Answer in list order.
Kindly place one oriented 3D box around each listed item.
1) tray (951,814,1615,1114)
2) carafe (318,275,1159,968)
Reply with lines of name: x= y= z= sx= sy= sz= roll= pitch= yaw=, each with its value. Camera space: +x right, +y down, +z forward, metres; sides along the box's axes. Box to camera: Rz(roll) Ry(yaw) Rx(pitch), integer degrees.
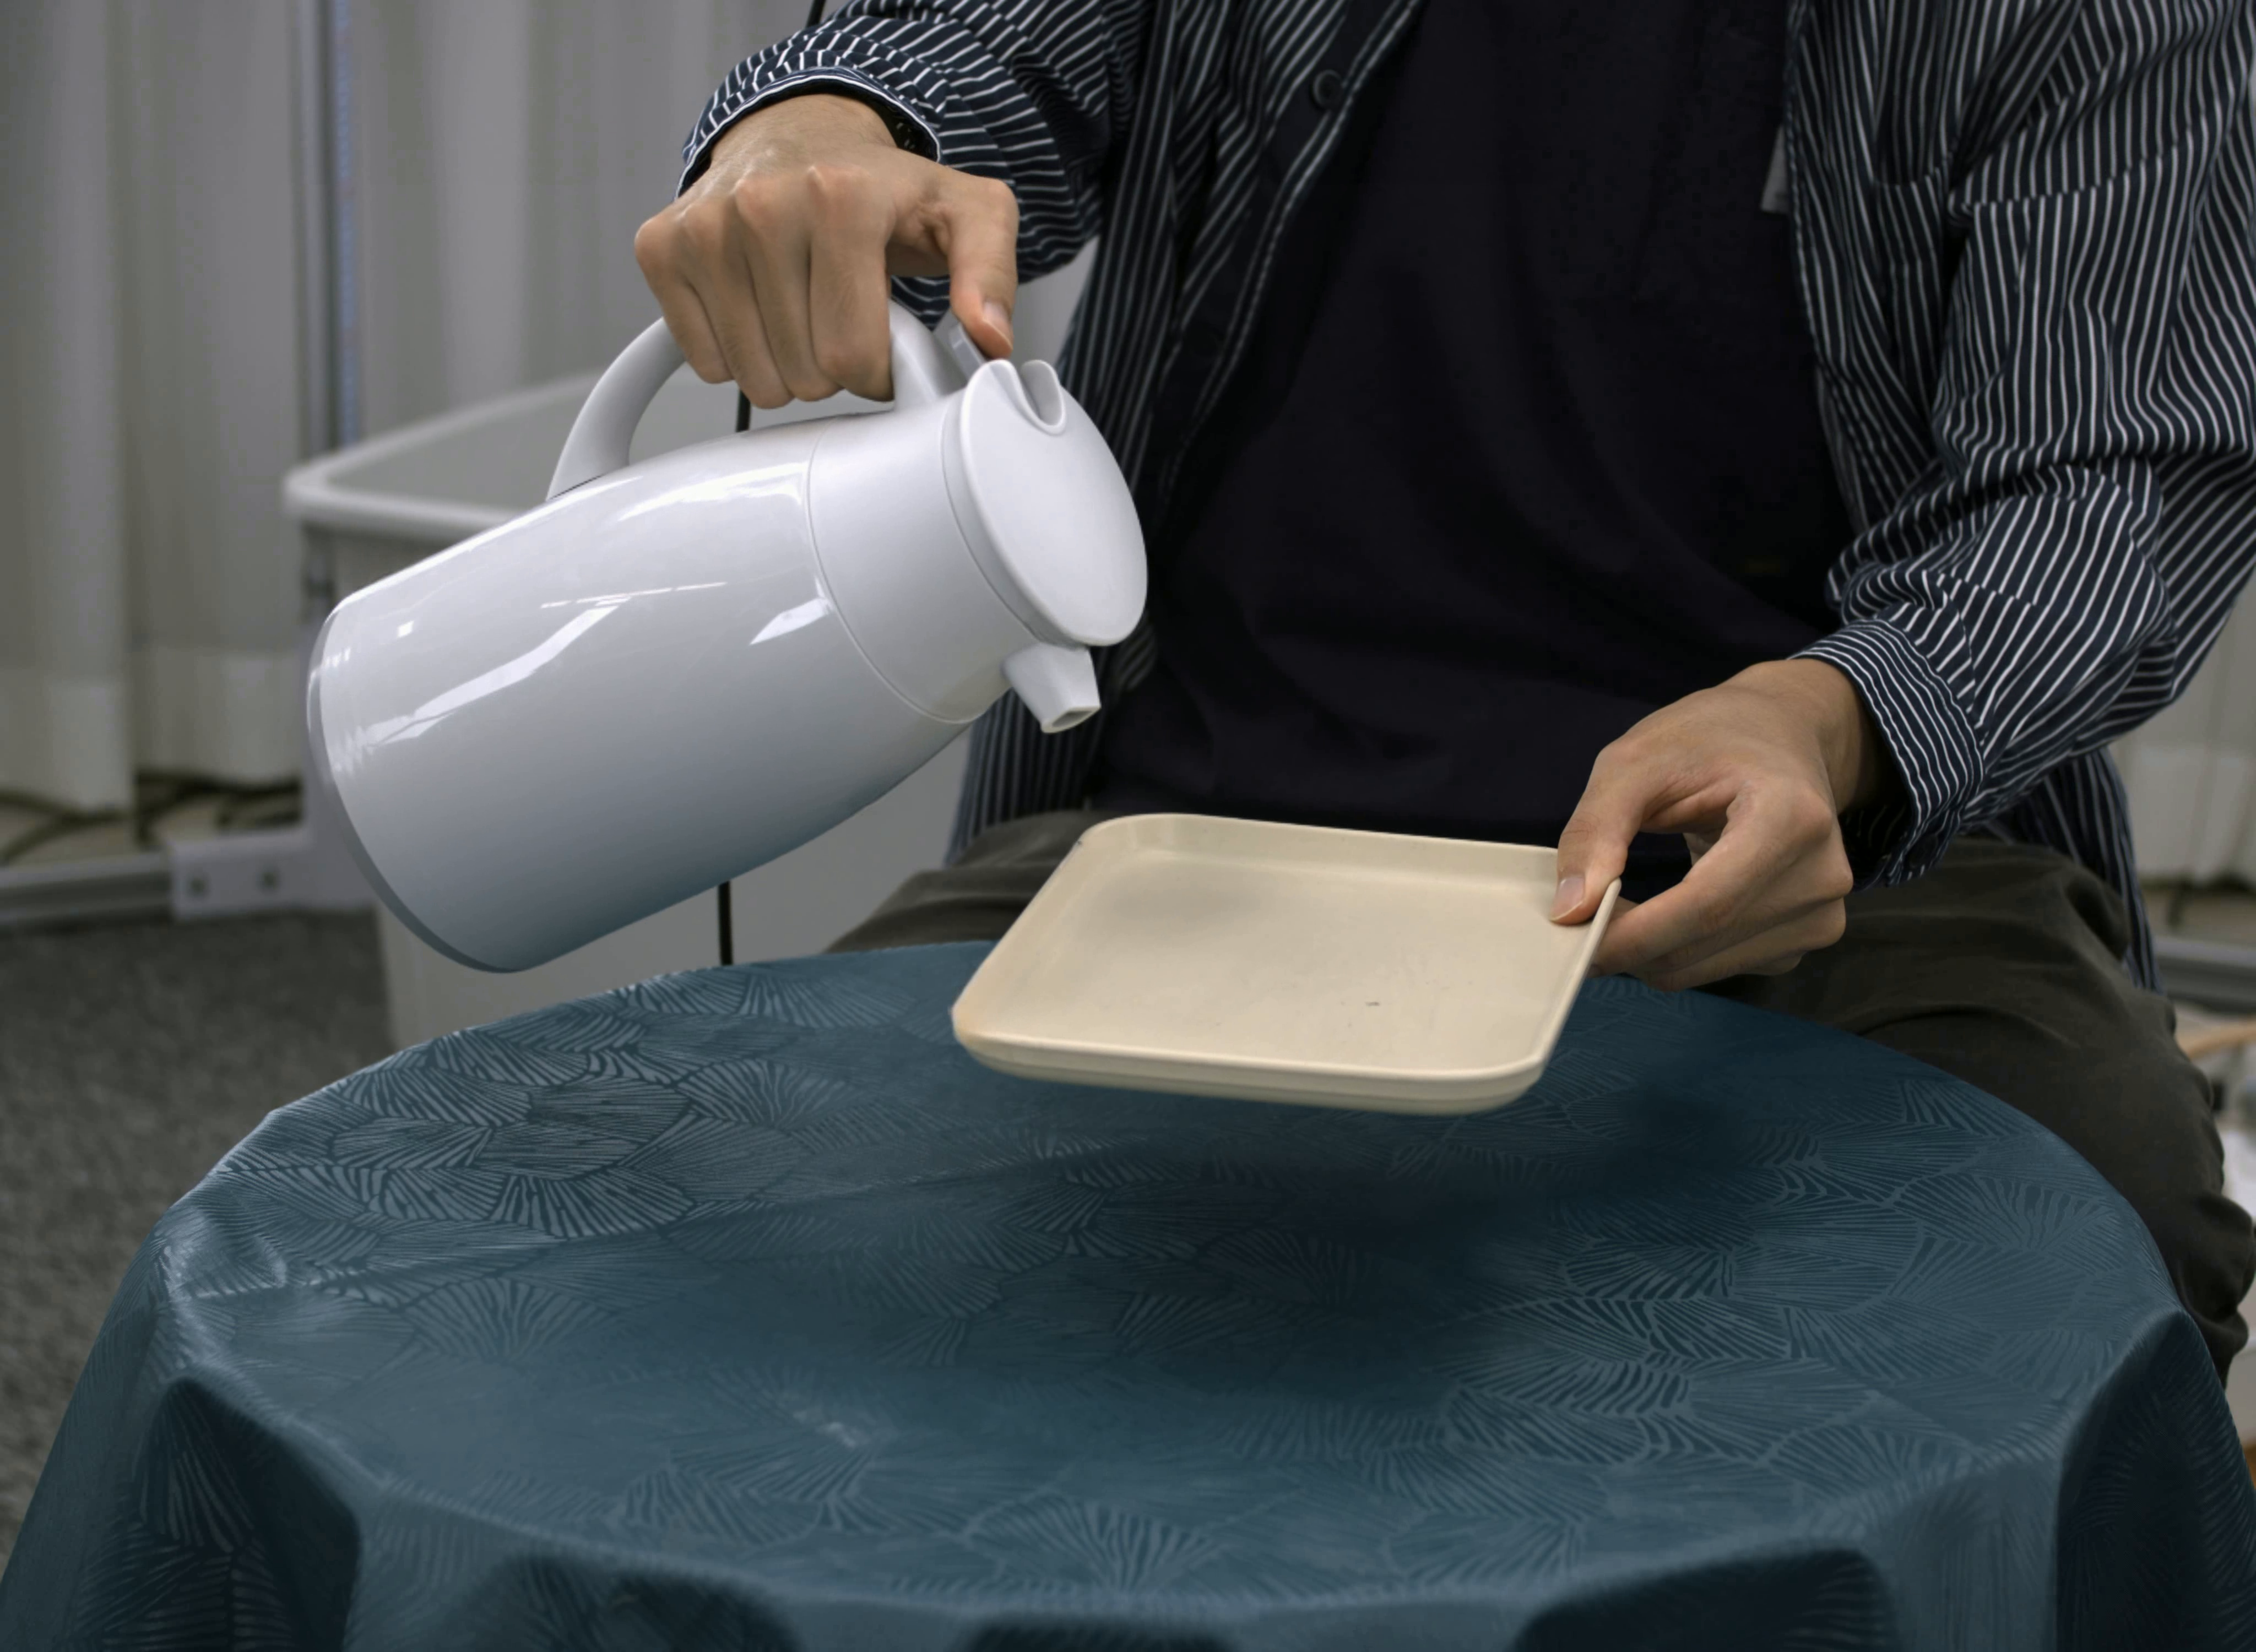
tray: x=0.050 y=0.040 z=1.555 sx=0.170 sy=0.017 sz=0.239 roll=6 pitch=16 yaw=10
carafe: x=-0.119 y=-0.074 z=1.607 sx=0.247 sy=0.168 sz=0.133 roll=-22 pitch=-2 yaw=28
